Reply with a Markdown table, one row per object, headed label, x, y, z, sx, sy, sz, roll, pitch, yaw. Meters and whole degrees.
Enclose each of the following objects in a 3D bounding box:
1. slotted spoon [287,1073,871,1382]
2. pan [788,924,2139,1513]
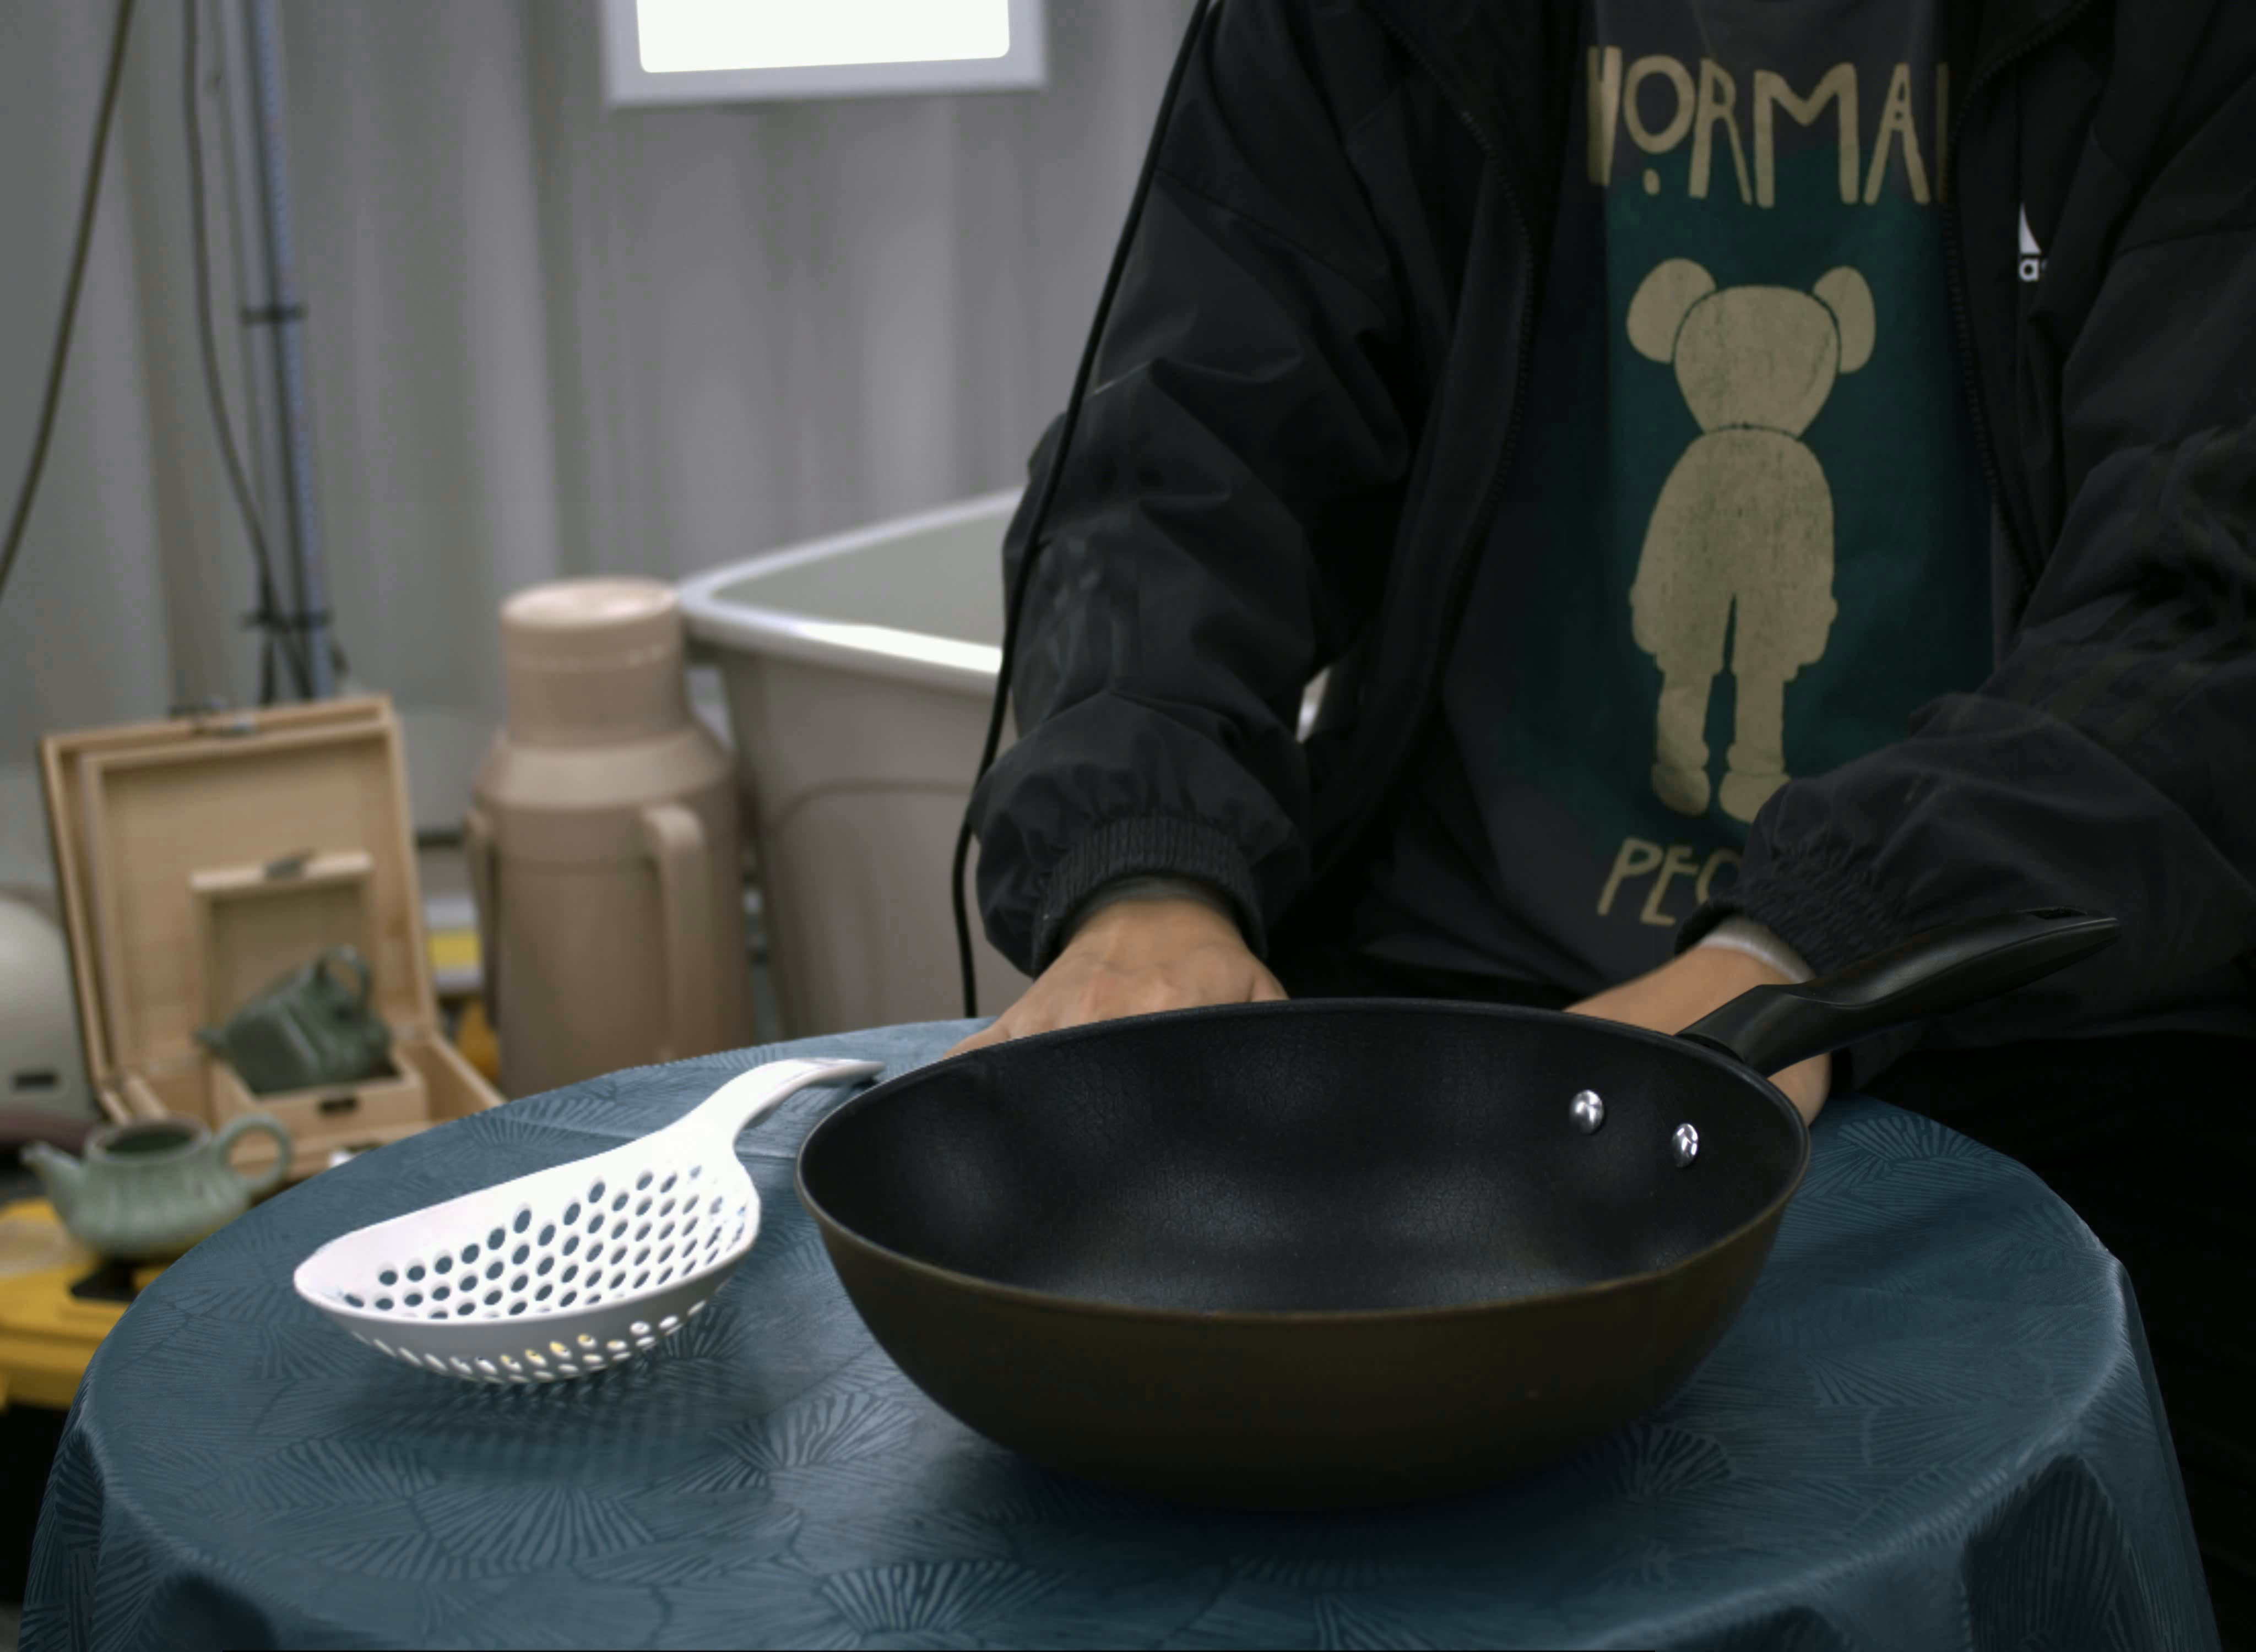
| label | x | y | z | sx | sy | sz | roll | pitch | yaw |
| --- | --- | --- | --- | --- | --- | --- | --- | --- | --- |
| slotted spoon | -0.137 | 0.110 | 1.680 | 0.137 | 0.050 | 0.349 | -1 | 15 | 18 |
| pan | 0.119 | 0.106 | 1.564 | 0.462 | 0.086 | 0.290 | -13 | 18 | -37 |
